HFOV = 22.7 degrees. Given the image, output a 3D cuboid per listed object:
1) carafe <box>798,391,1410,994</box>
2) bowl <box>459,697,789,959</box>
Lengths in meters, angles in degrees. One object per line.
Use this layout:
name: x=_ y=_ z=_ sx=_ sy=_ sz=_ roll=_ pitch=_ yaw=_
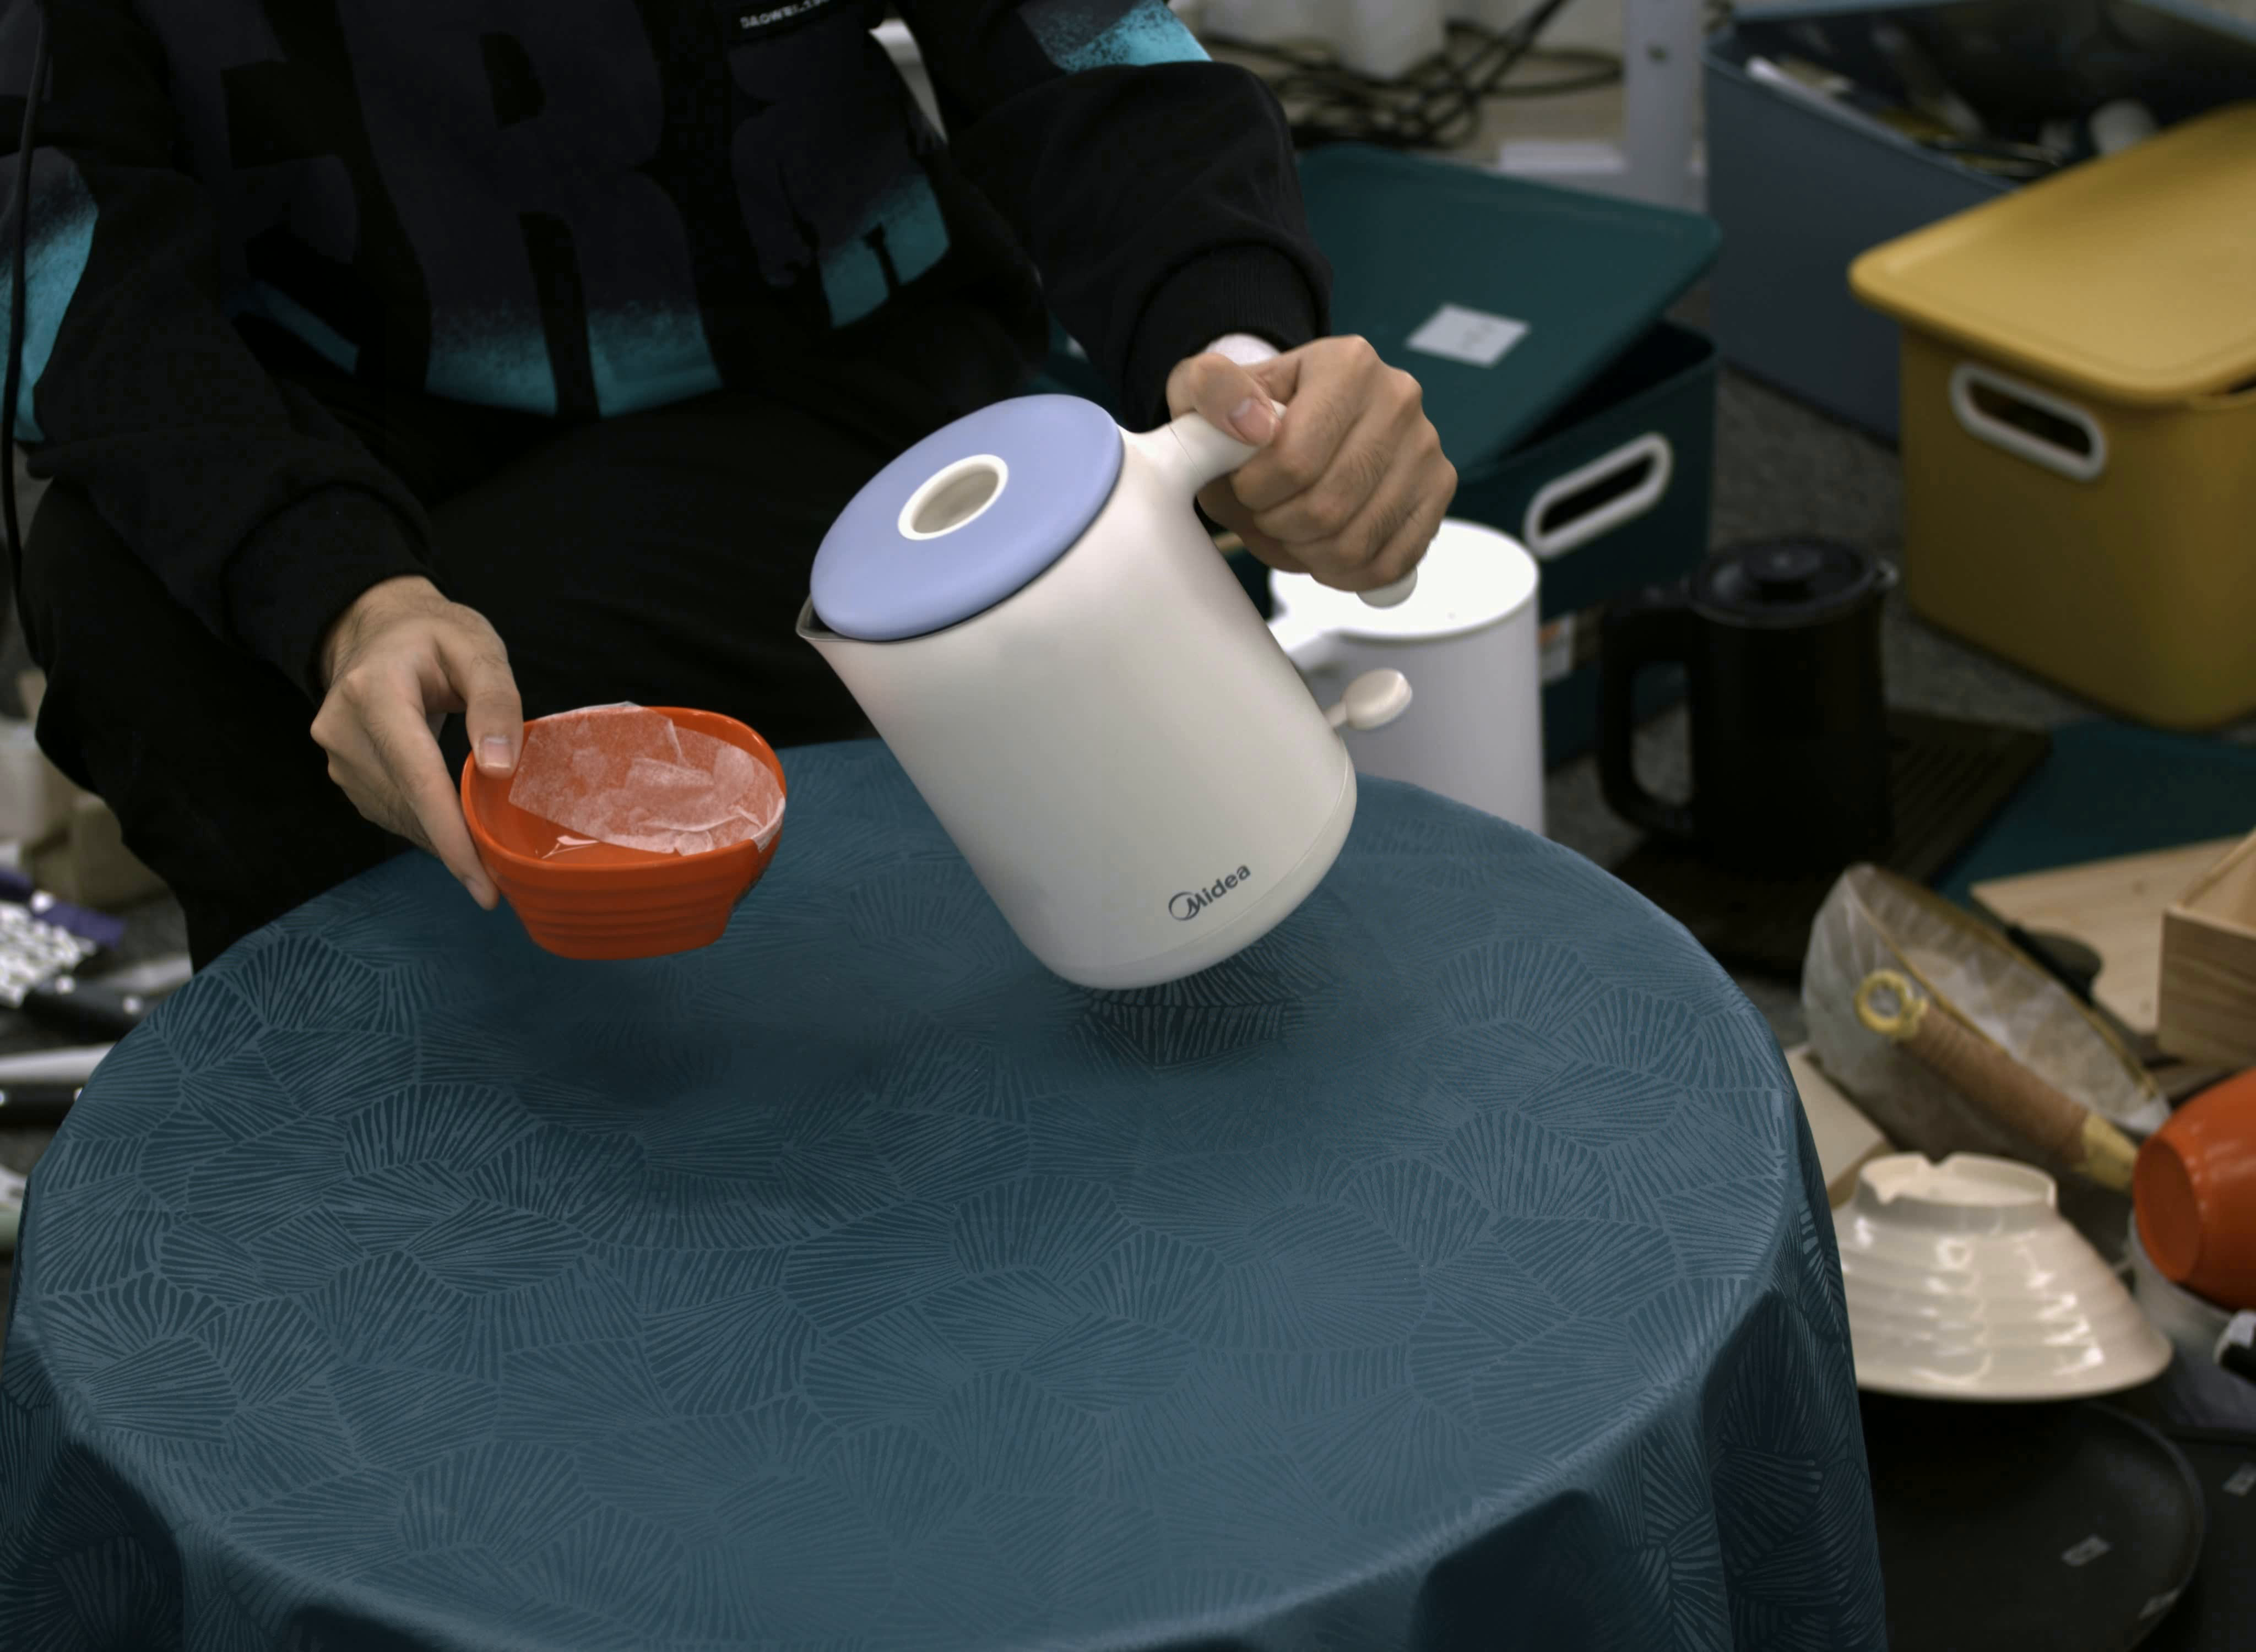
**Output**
carafe: x=0.005 y=-0.058 z=1.914 sx=0.191 sy=0.181 sz=0.133 roll=-31 pitch=31 yaw=-3
bowl: x=-0.170 y=0.005 z=1.911 sx=0.118 sy=0.051 sz=0.121 roll=0 pitch=31 yaw=0
